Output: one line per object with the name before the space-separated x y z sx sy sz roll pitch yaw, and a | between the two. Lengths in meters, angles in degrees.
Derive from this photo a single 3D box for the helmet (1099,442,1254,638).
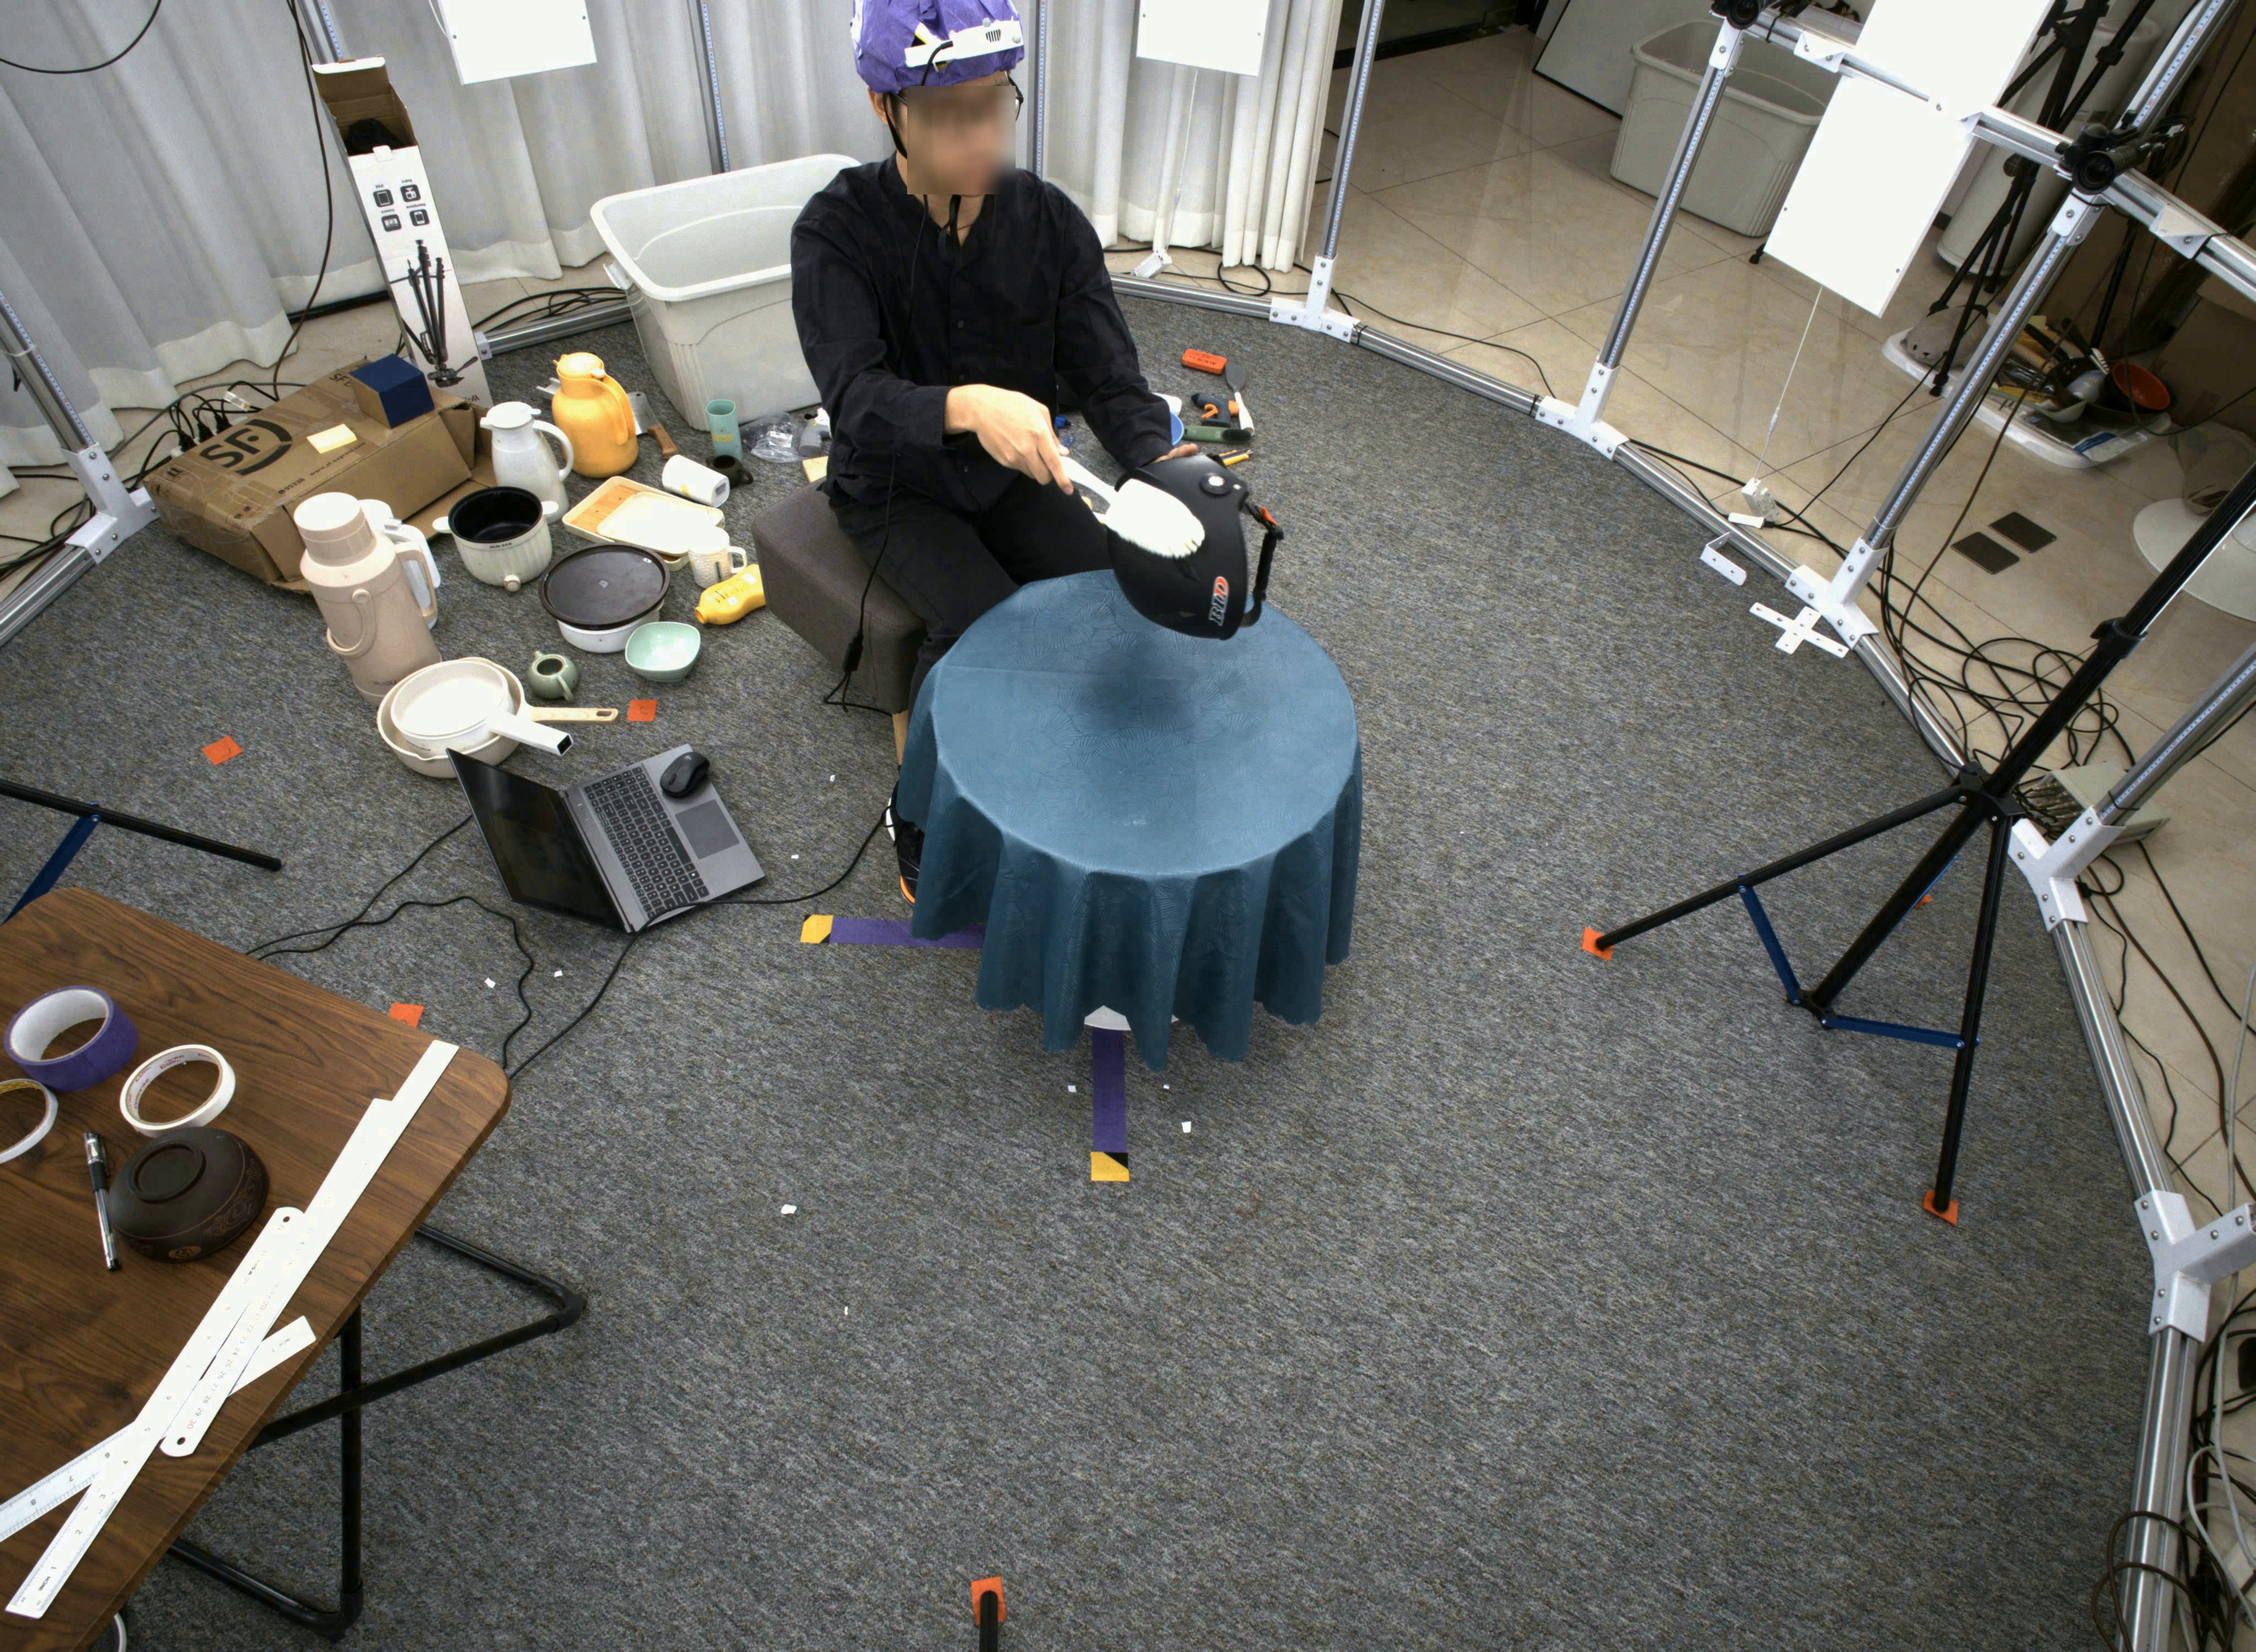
helmet | 0.057 -0.373 1.704 0.172 0.241 0.283 -7 45 -15

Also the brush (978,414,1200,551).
brush | -0.046 -0.433 1.622 0.329 0.082 0.084 31 52 20
